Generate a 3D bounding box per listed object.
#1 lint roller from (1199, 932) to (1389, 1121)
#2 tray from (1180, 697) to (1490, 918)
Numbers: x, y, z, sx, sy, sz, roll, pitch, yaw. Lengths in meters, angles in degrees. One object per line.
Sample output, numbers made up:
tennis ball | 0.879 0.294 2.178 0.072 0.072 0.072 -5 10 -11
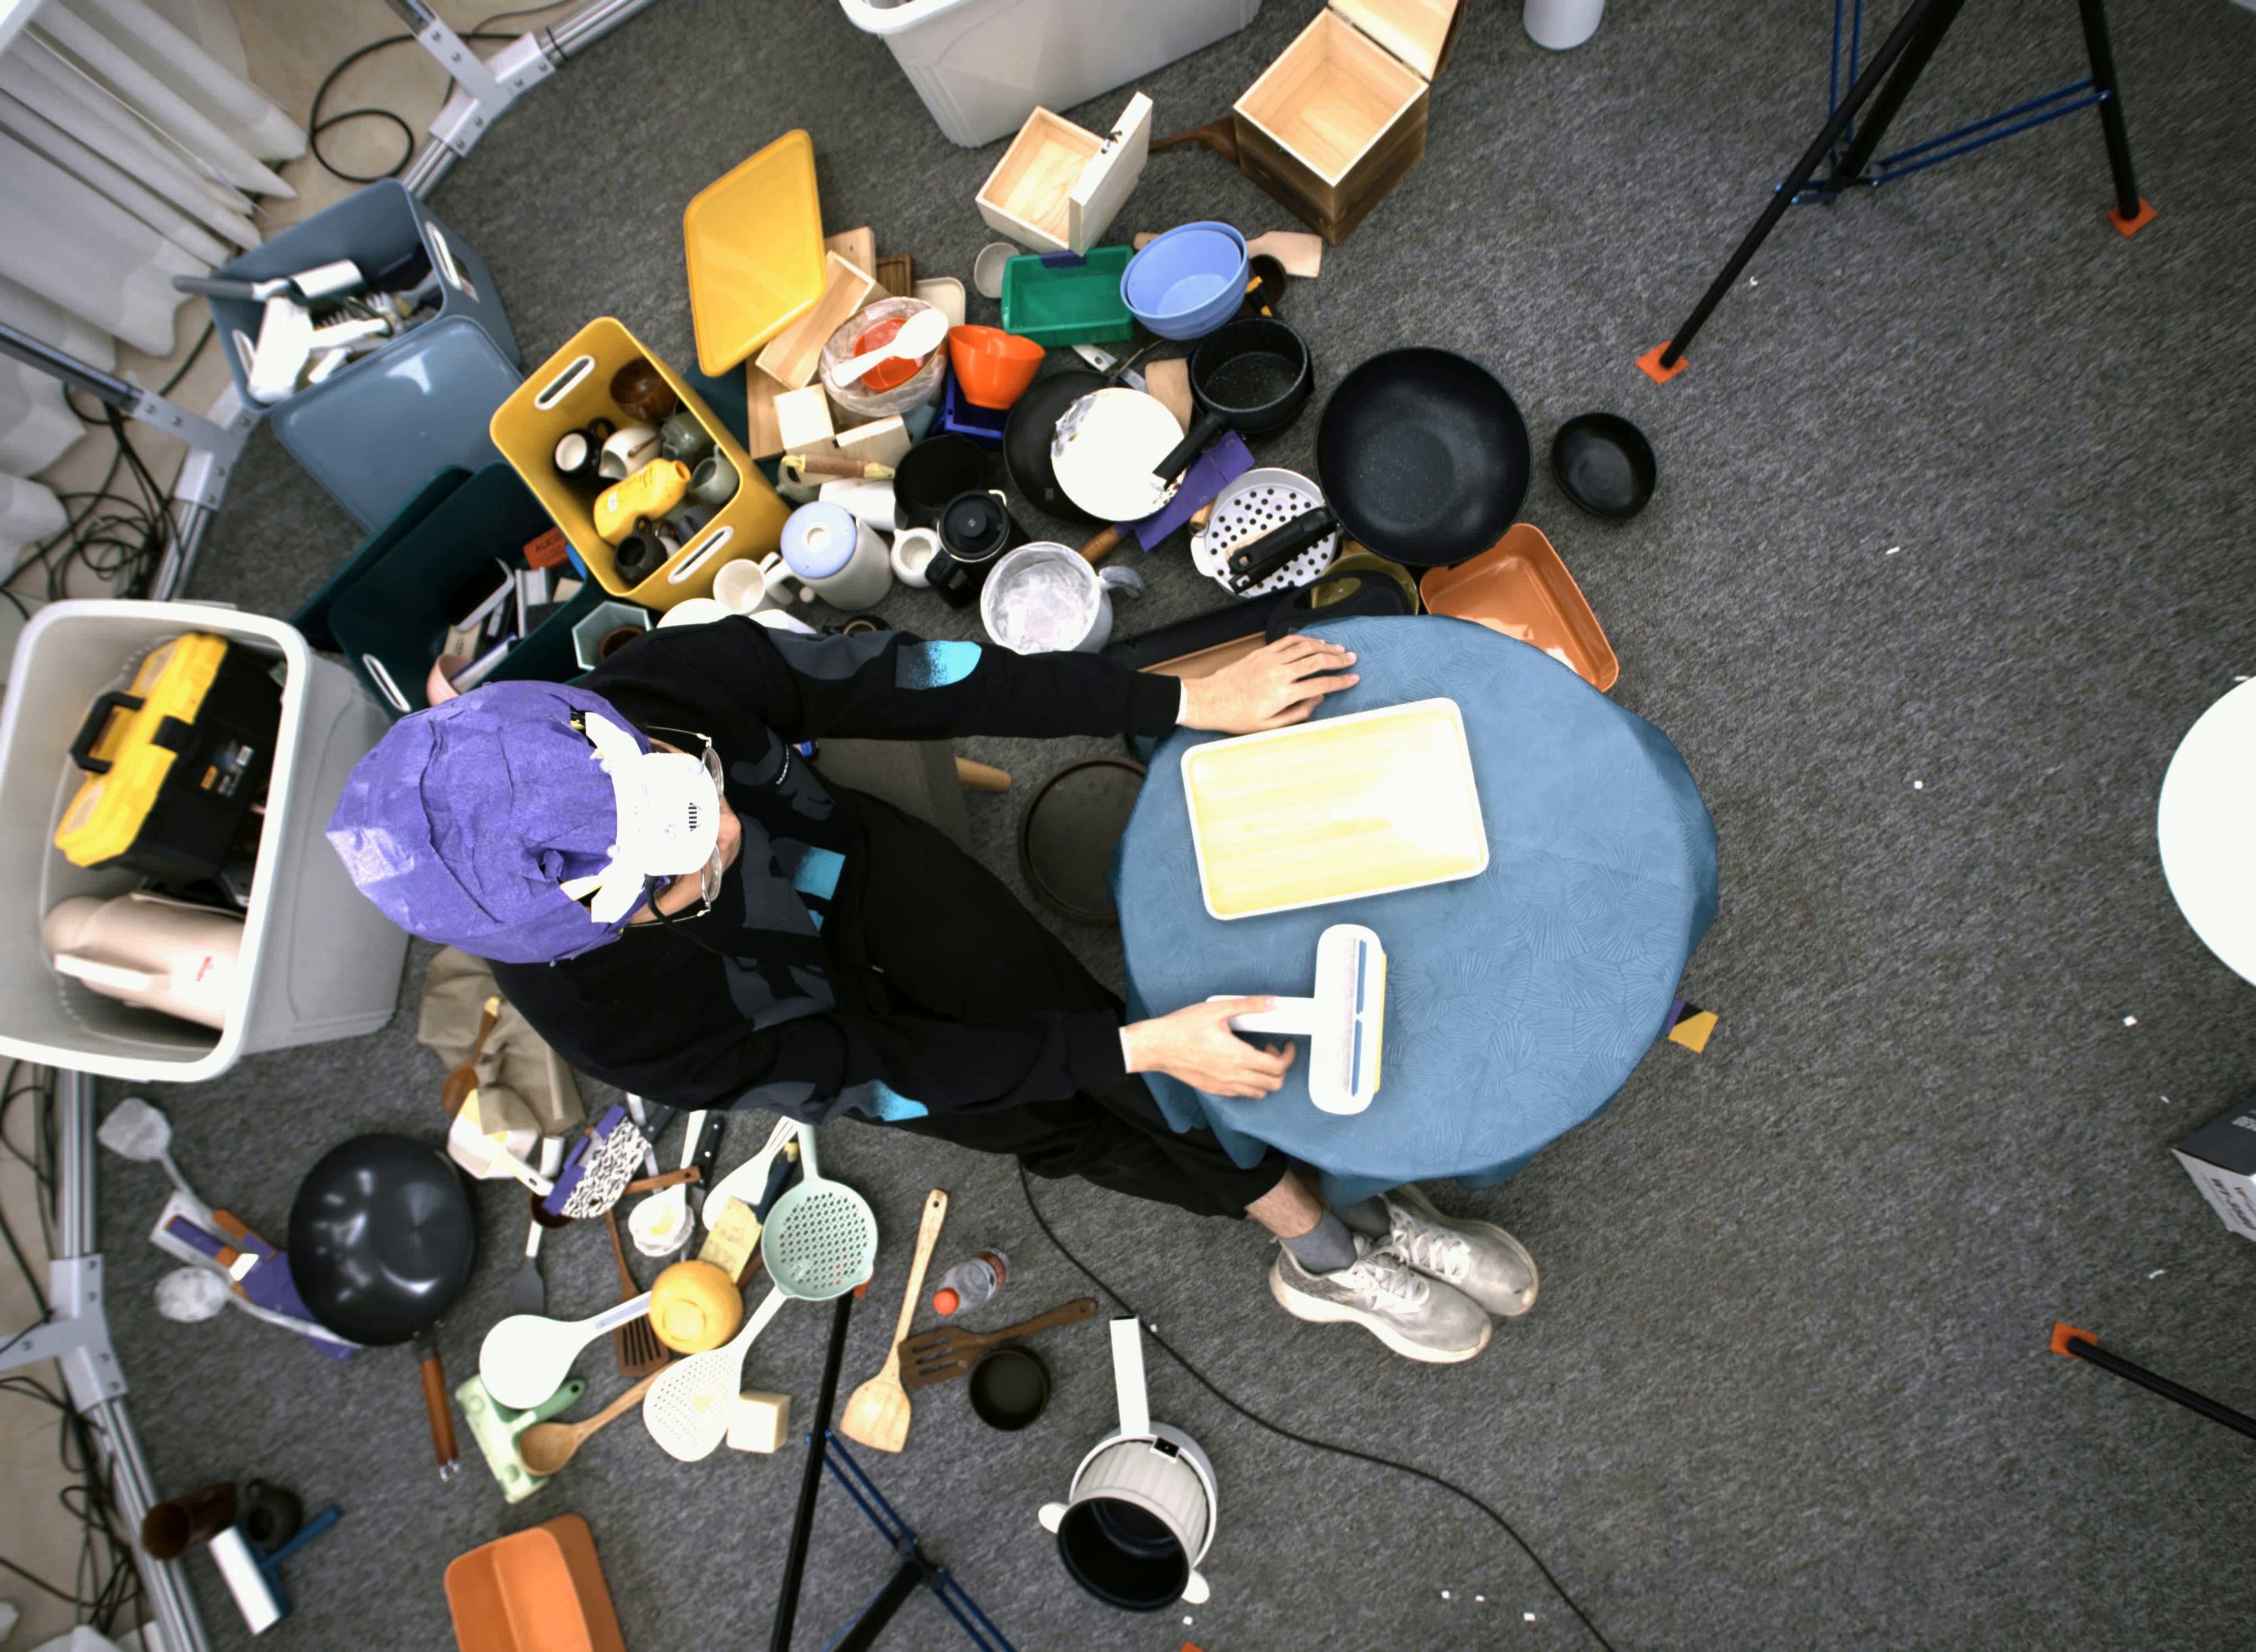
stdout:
lint roller | 0.166 0.198 1.434 0.193 0.074 0.191 6 83 12
tray | 0.216 -0.019 1.457 0.302 0.027 0.190 -10 85 10
